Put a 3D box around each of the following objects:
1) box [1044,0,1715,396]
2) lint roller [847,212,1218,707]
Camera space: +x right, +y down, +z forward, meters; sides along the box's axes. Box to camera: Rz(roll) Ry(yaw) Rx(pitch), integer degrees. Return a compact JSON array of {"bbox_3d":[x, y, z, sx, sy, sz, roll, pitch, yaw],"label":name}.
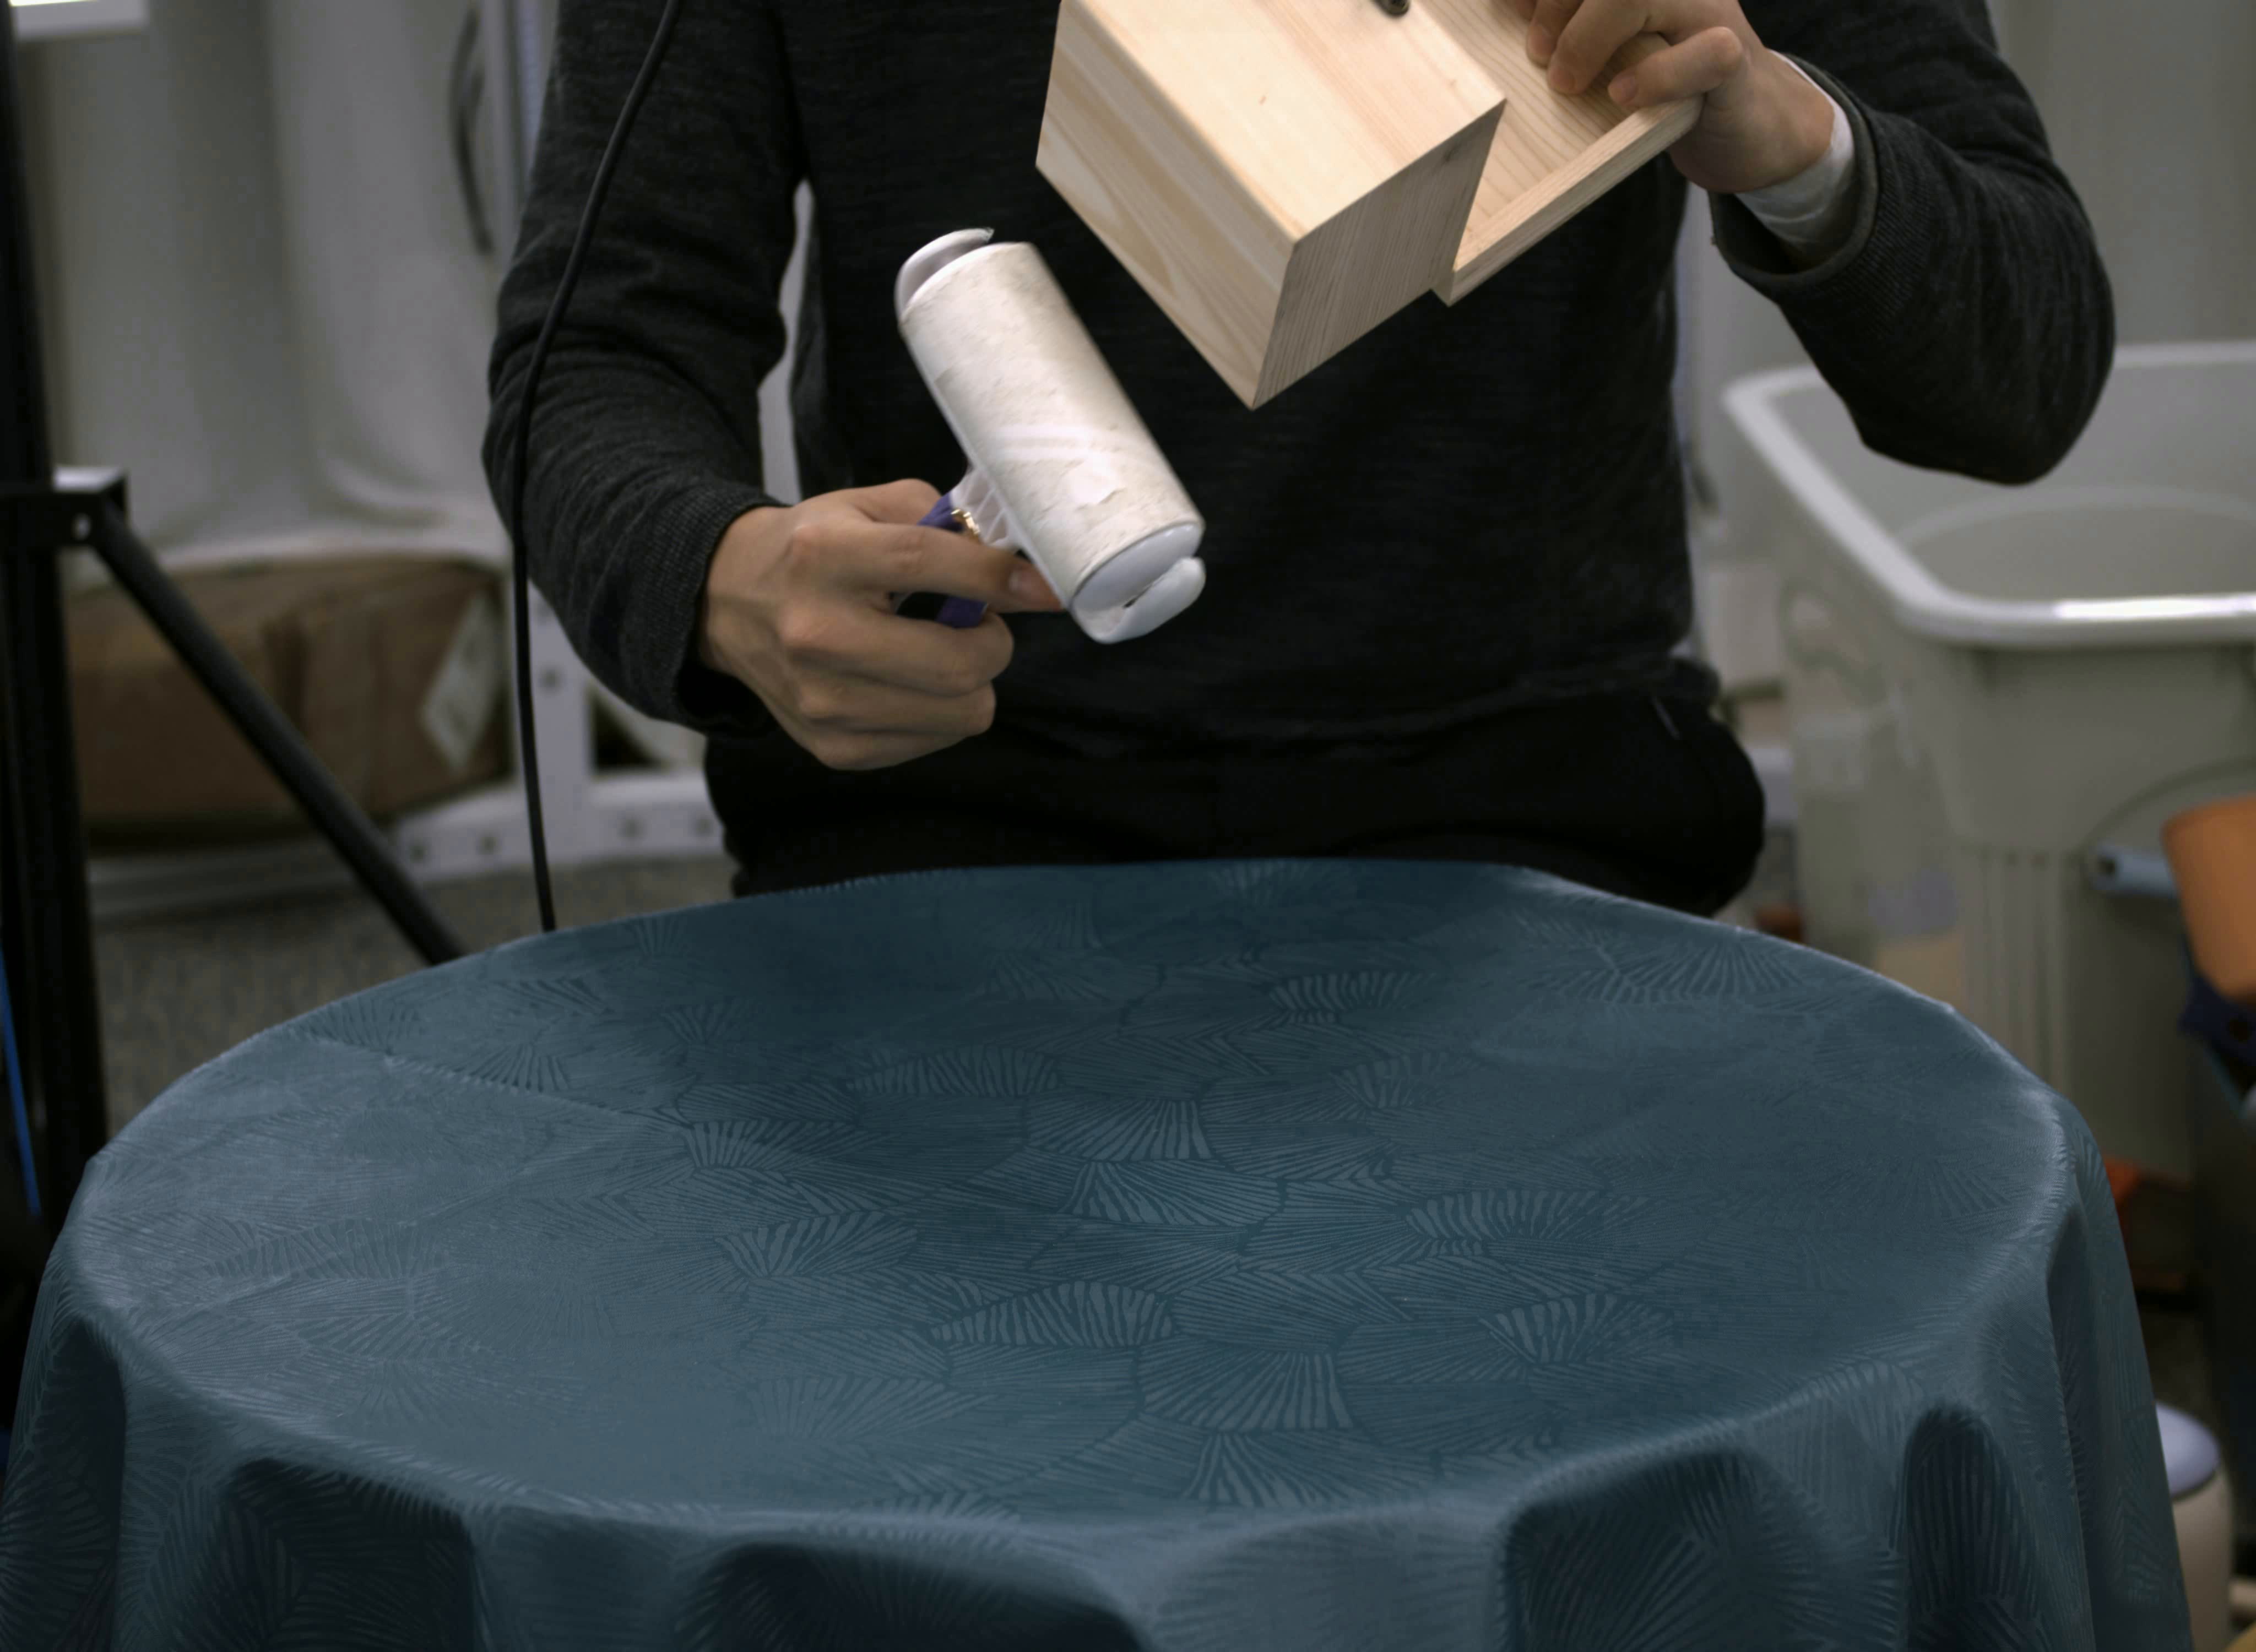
[{"bbox_3d":[0.080,-0.225,1.535,0.182,0.104,0.133,-34,-17,-19],"label":"box"},{"bbox_3d":[-0.052,-0.088,1.600,0.049,0.134,0.183,-17,-19,-42],"label":"lint roller"}]
